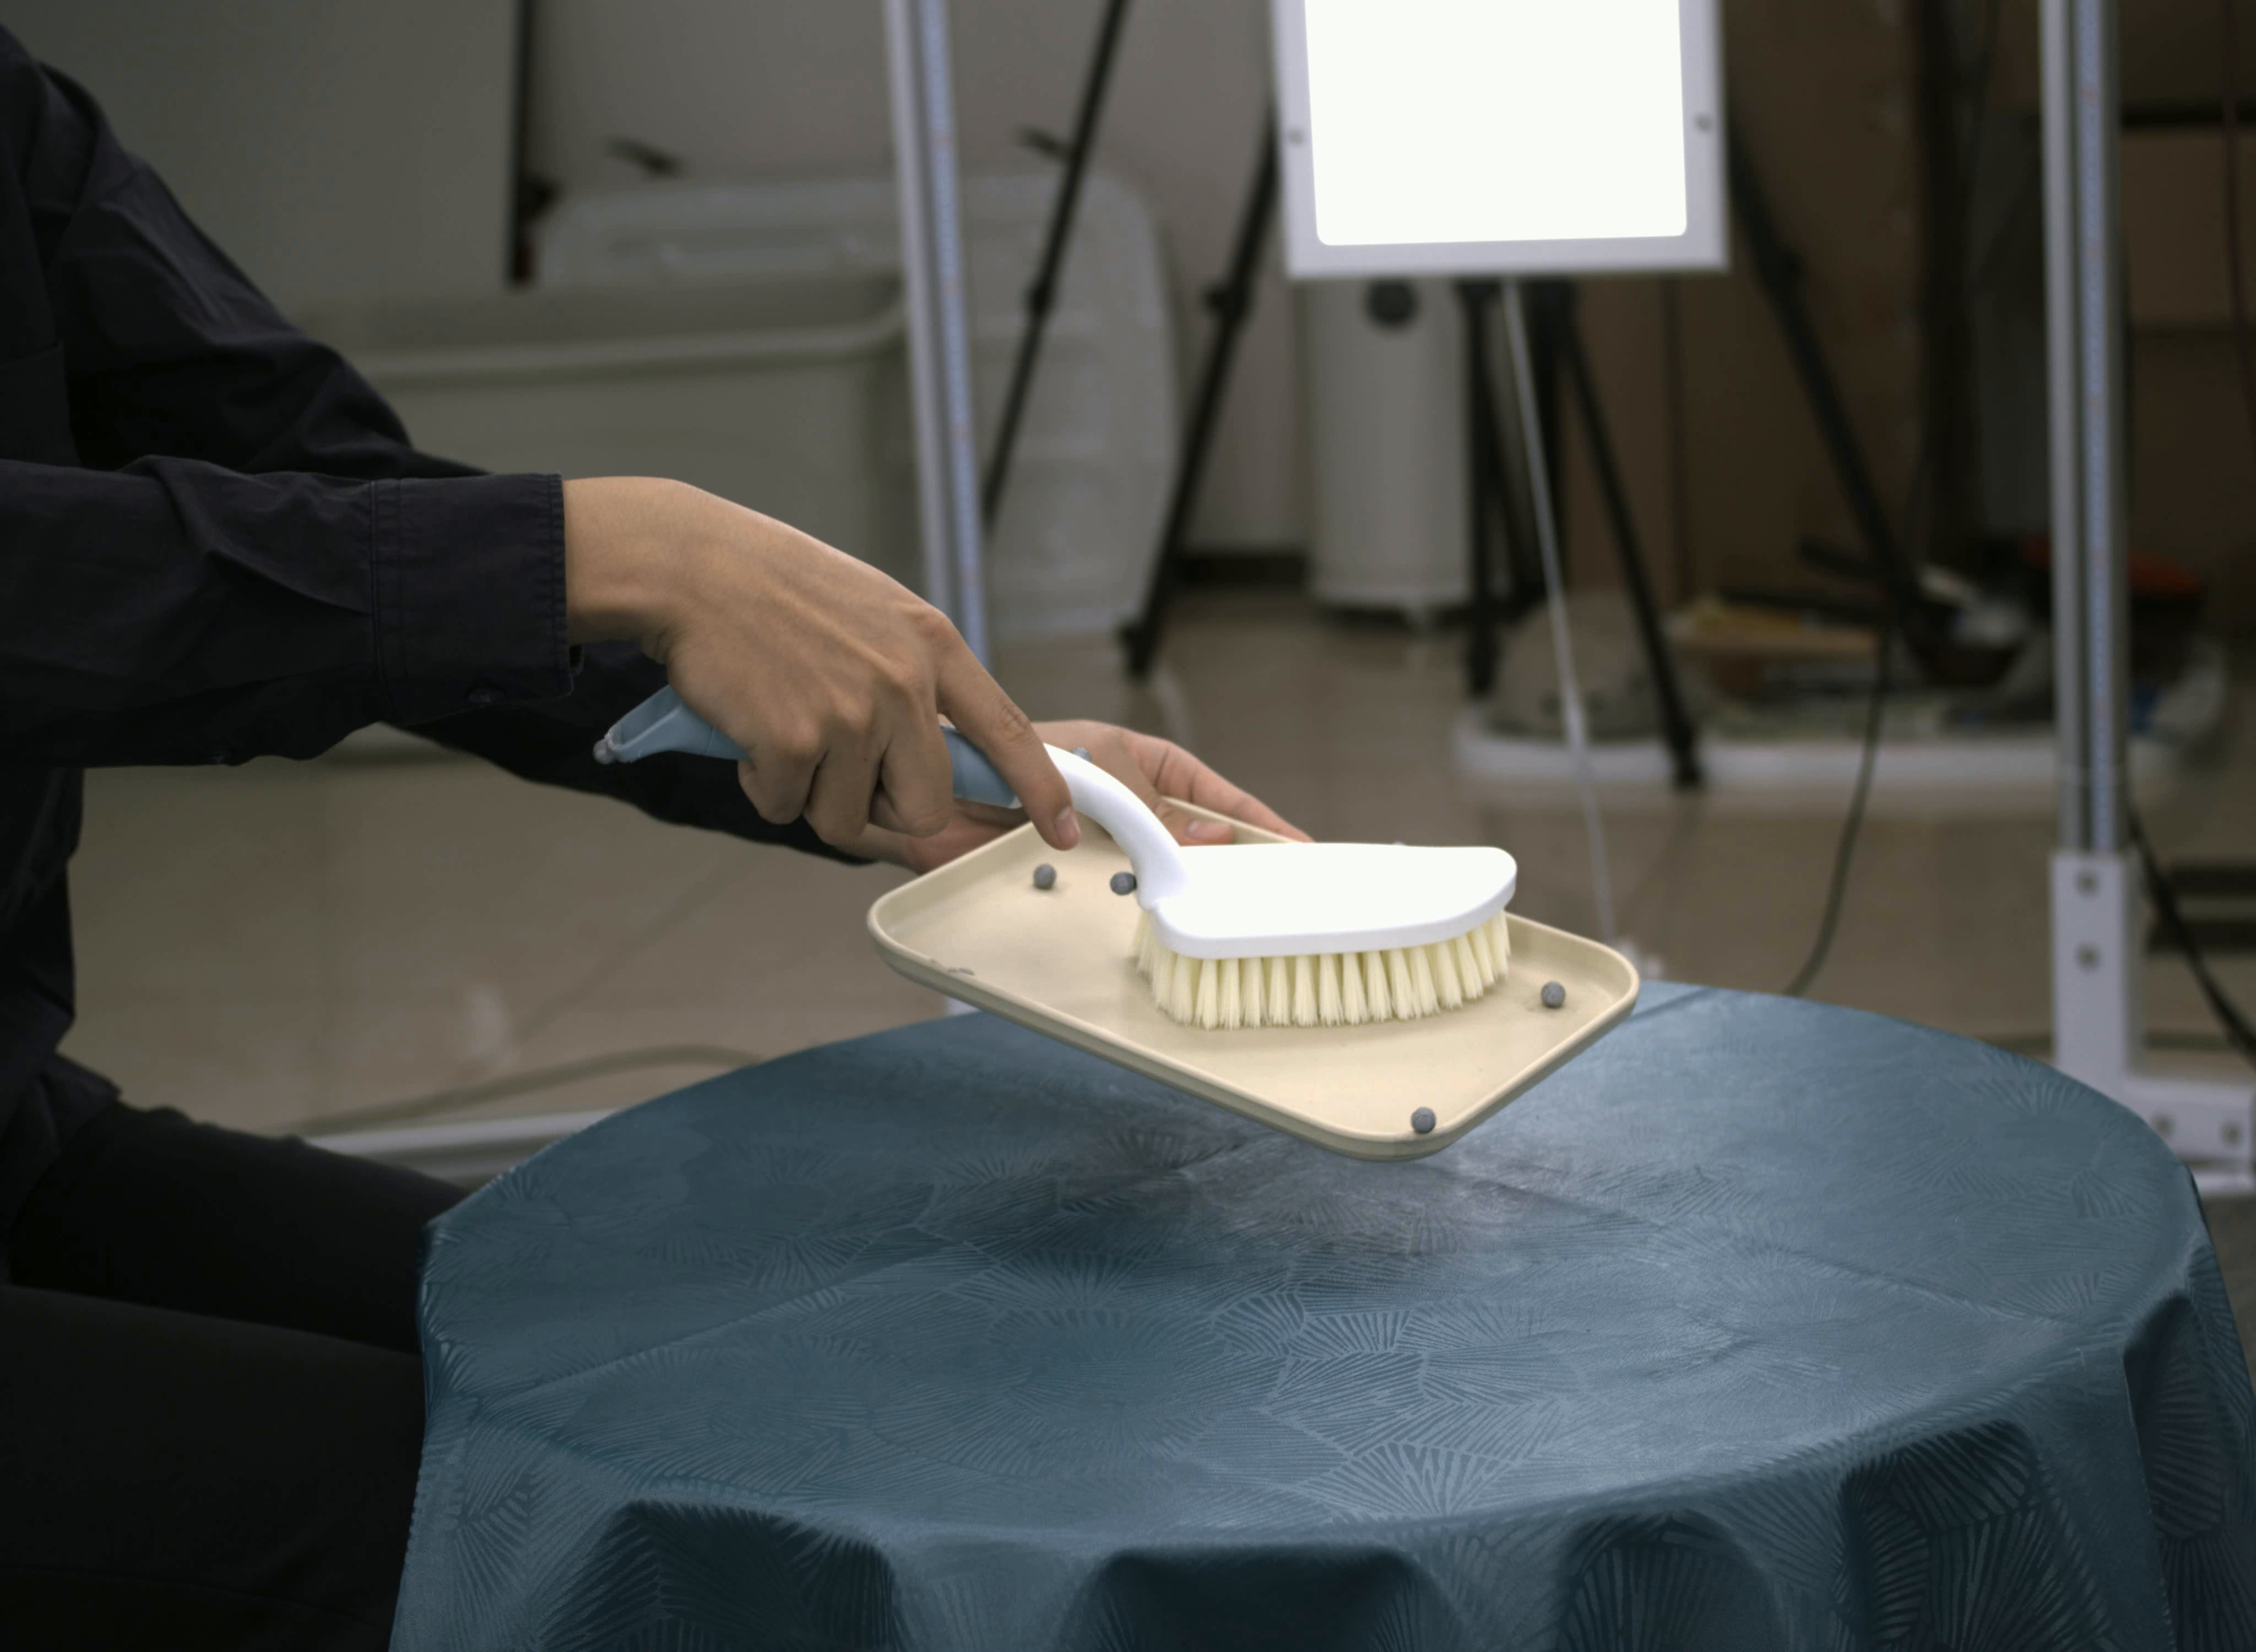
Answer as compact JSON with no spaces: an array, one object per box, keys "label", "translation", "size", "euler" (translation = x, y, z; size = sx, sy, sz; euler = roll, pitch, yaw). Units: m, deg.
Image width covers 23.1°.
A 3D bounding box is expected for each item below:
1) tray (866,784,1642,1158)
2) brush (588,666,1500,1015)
[{"label":"tray","translation":[0.043,0.048,1.884],"size":[0.244,0.017,0.167],"euler":[20,31,32]},{"label":"brush","translation":[-0.031,0.016,1.862],"size":[0.321,0.084,0.084],"euler":[10,-13,-13]}]
